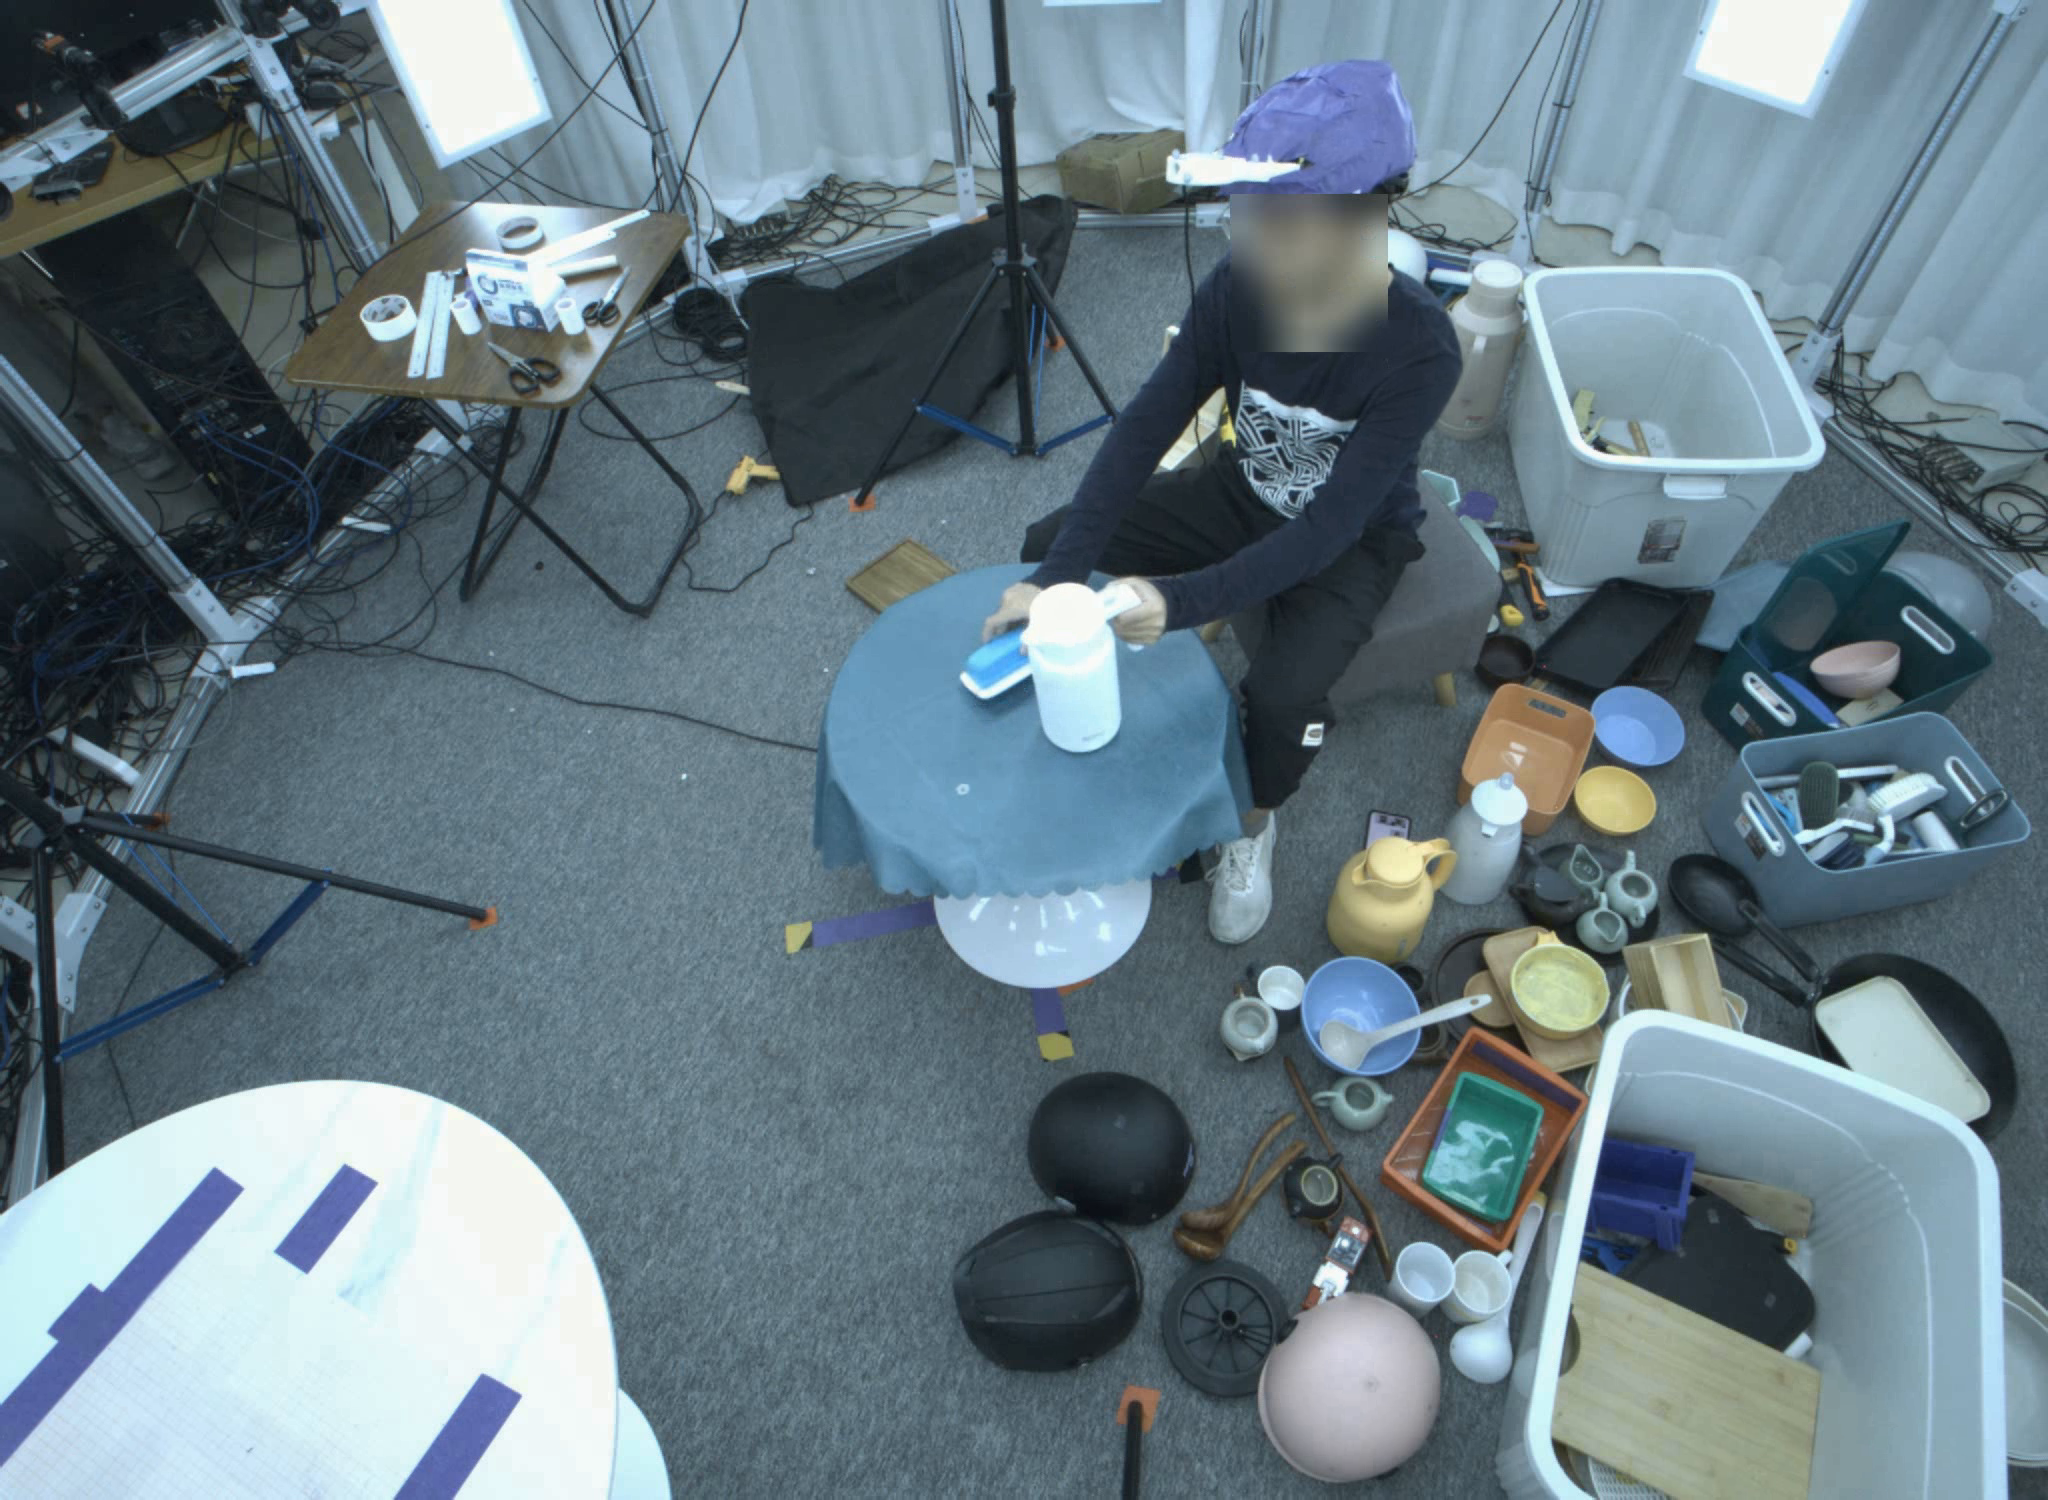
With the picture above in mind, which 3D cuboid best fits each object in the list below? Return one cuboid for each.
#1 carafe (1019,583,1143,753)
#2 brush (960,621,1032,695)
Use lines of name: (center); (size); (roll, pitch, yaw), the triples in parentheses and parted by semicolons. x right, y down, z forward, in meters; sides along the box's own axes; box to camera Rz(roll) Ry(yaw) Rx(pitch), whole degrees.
carafe: (0.082, -0.118, 1.689); (0.174, 0.272, 0.121); (-29, 59, -11)
brush: (-0.025, -0.146, 1.831); (0.145, 0.057, 0.082); (-33, 50, -12)
